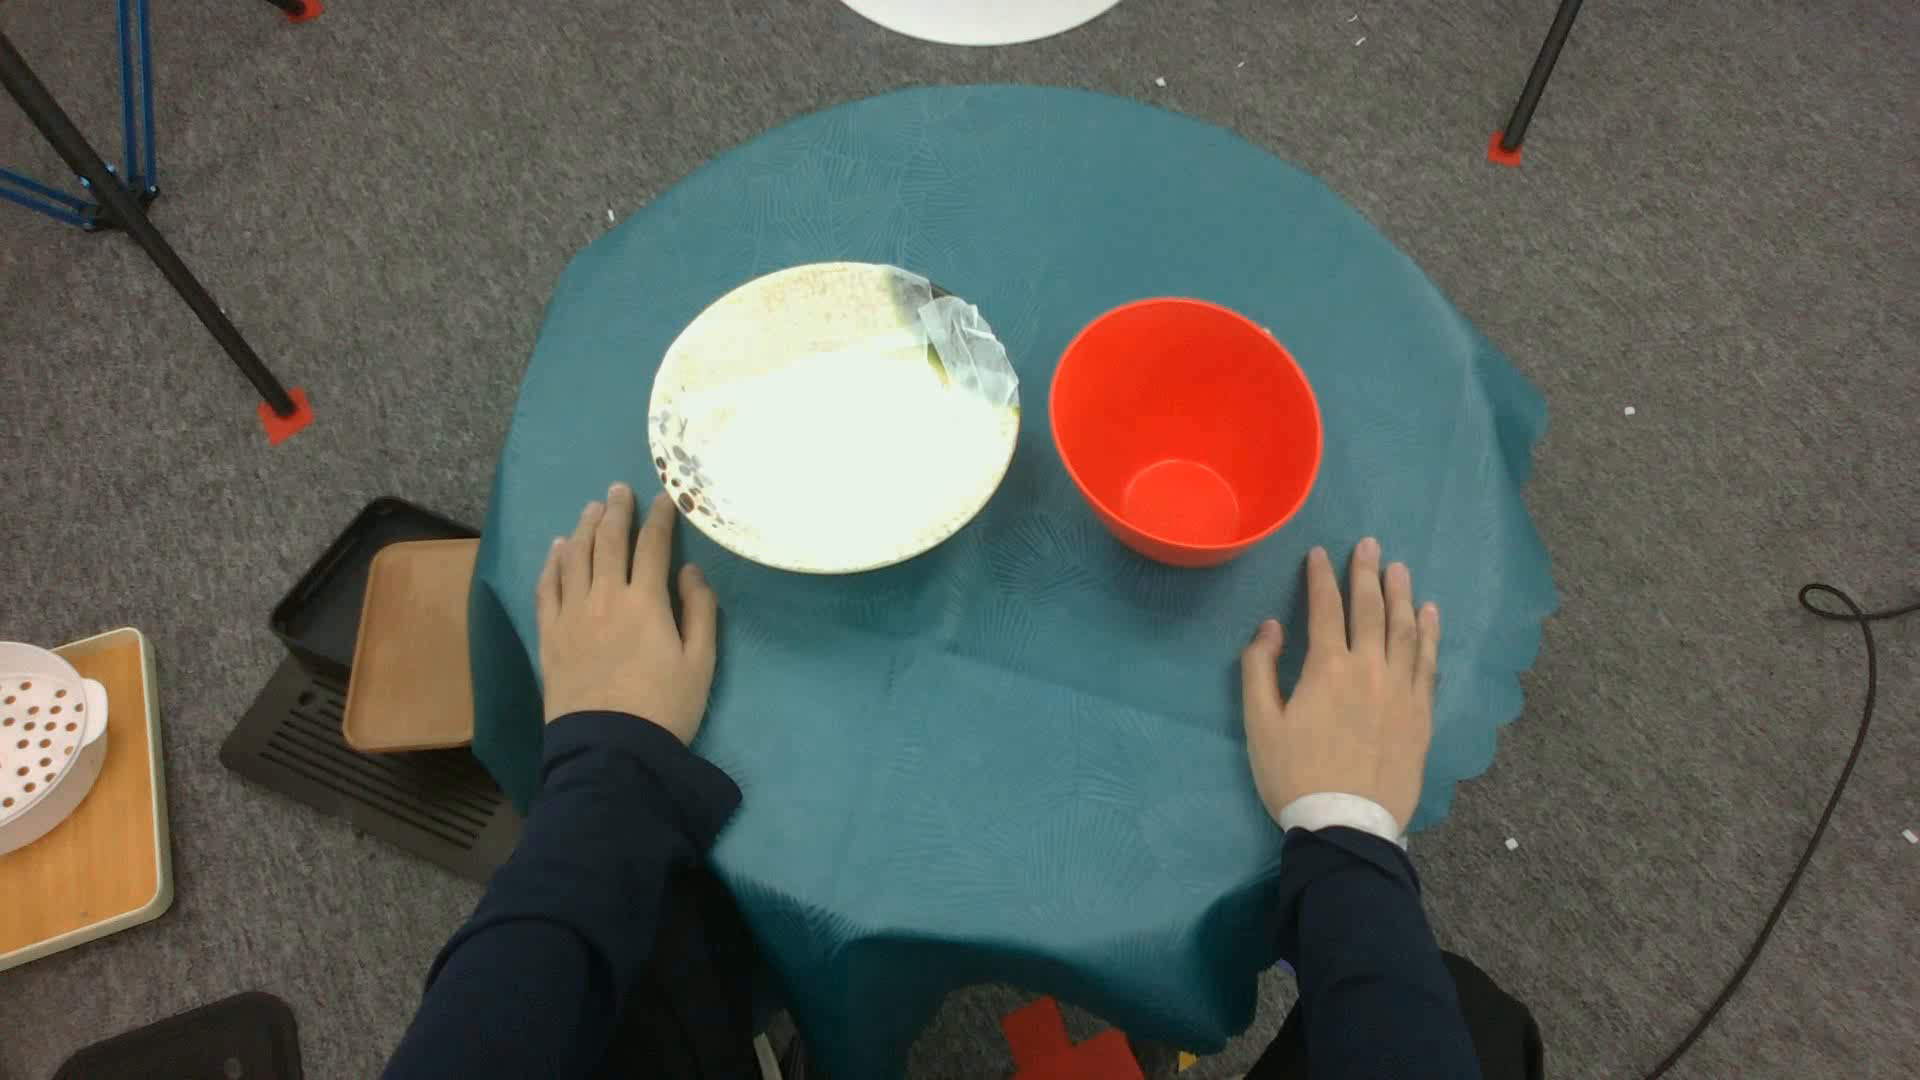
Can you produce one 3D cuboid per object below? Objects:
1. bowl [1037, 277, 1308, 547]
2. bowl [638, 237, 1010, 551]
[{"bbox_3d":[0.113,-0.057,0.767,0.148,0.104,0.148,1,63,-1],"label":"bowl"},{"bbox_3d":[-0.074,-0.069,0.784,0.204,0.077,0.205,0,63,1],"label":"bowl"}]
